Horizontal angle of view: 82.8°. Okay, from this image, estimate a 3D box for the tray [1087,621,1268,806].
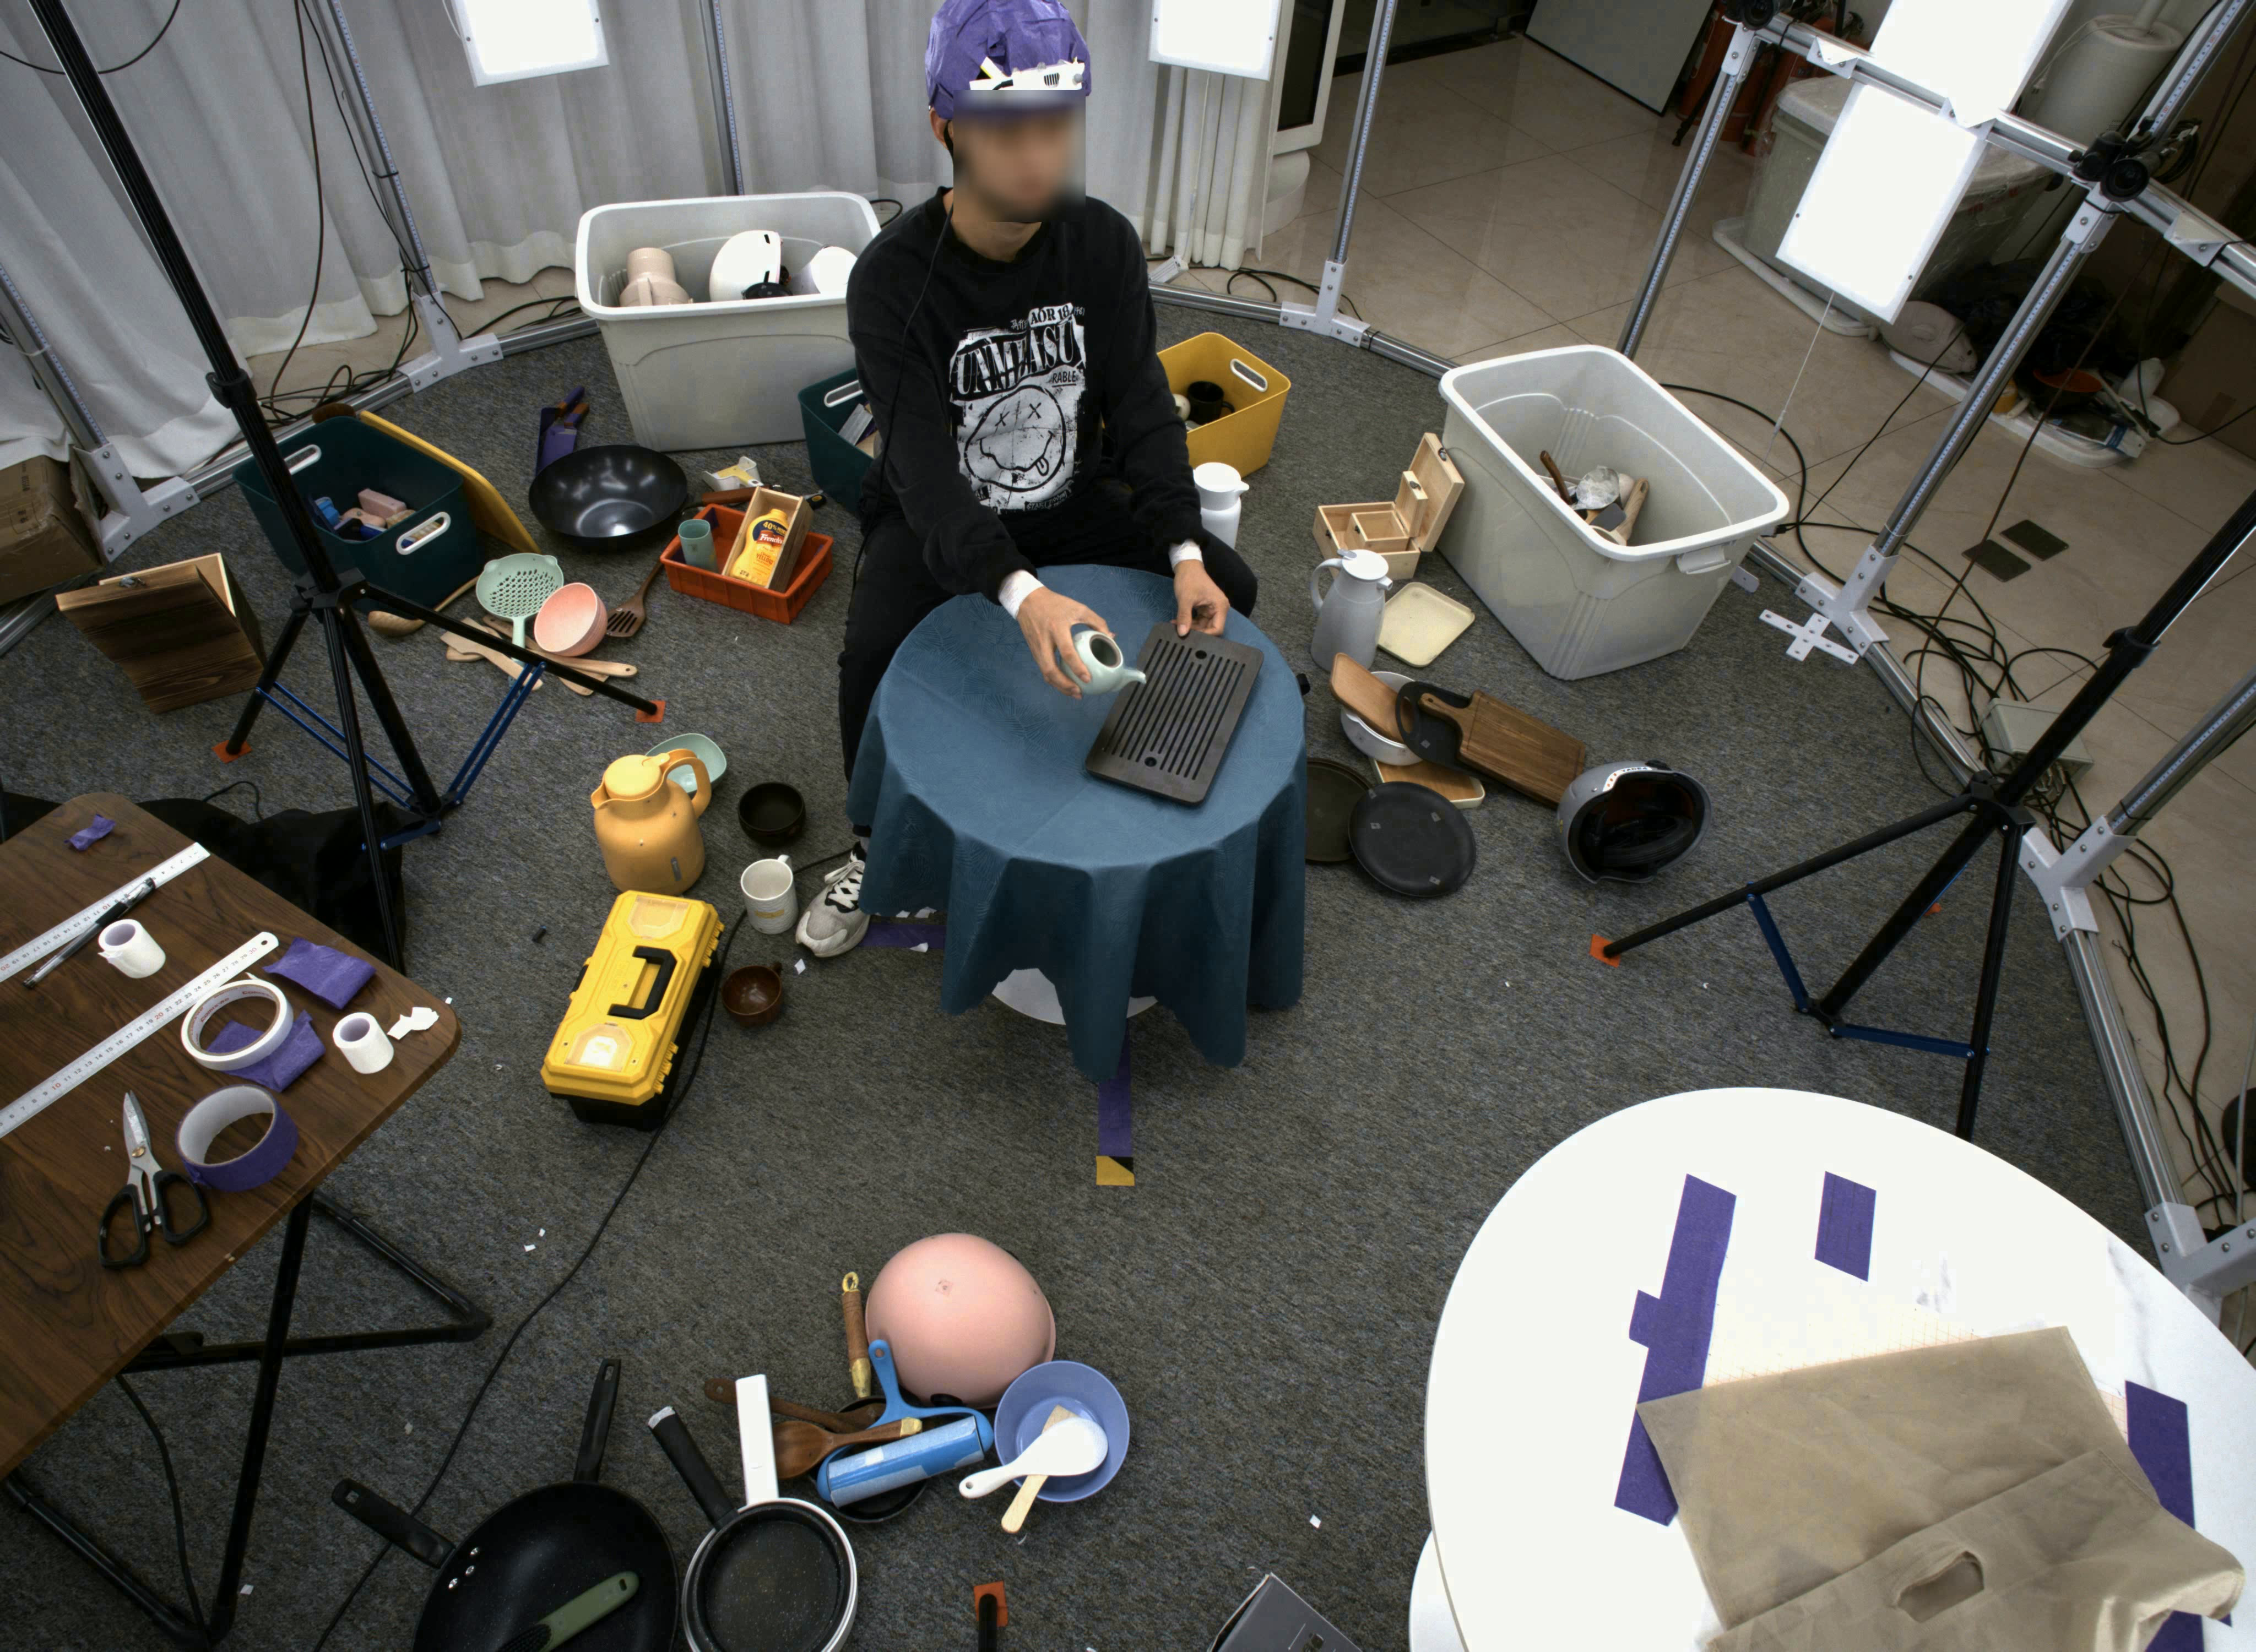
[{"bbox_3d":[0.073,-0.161,1.792,0.171,0.018,0.312,17,53,11],"label":"tray"}]

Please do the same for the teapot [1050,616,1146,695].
[{"bbox_3d":[-0.050,-0.219,1.713,0.142,0.074,0.090,38,42,-18],"label":"teapot"}]
